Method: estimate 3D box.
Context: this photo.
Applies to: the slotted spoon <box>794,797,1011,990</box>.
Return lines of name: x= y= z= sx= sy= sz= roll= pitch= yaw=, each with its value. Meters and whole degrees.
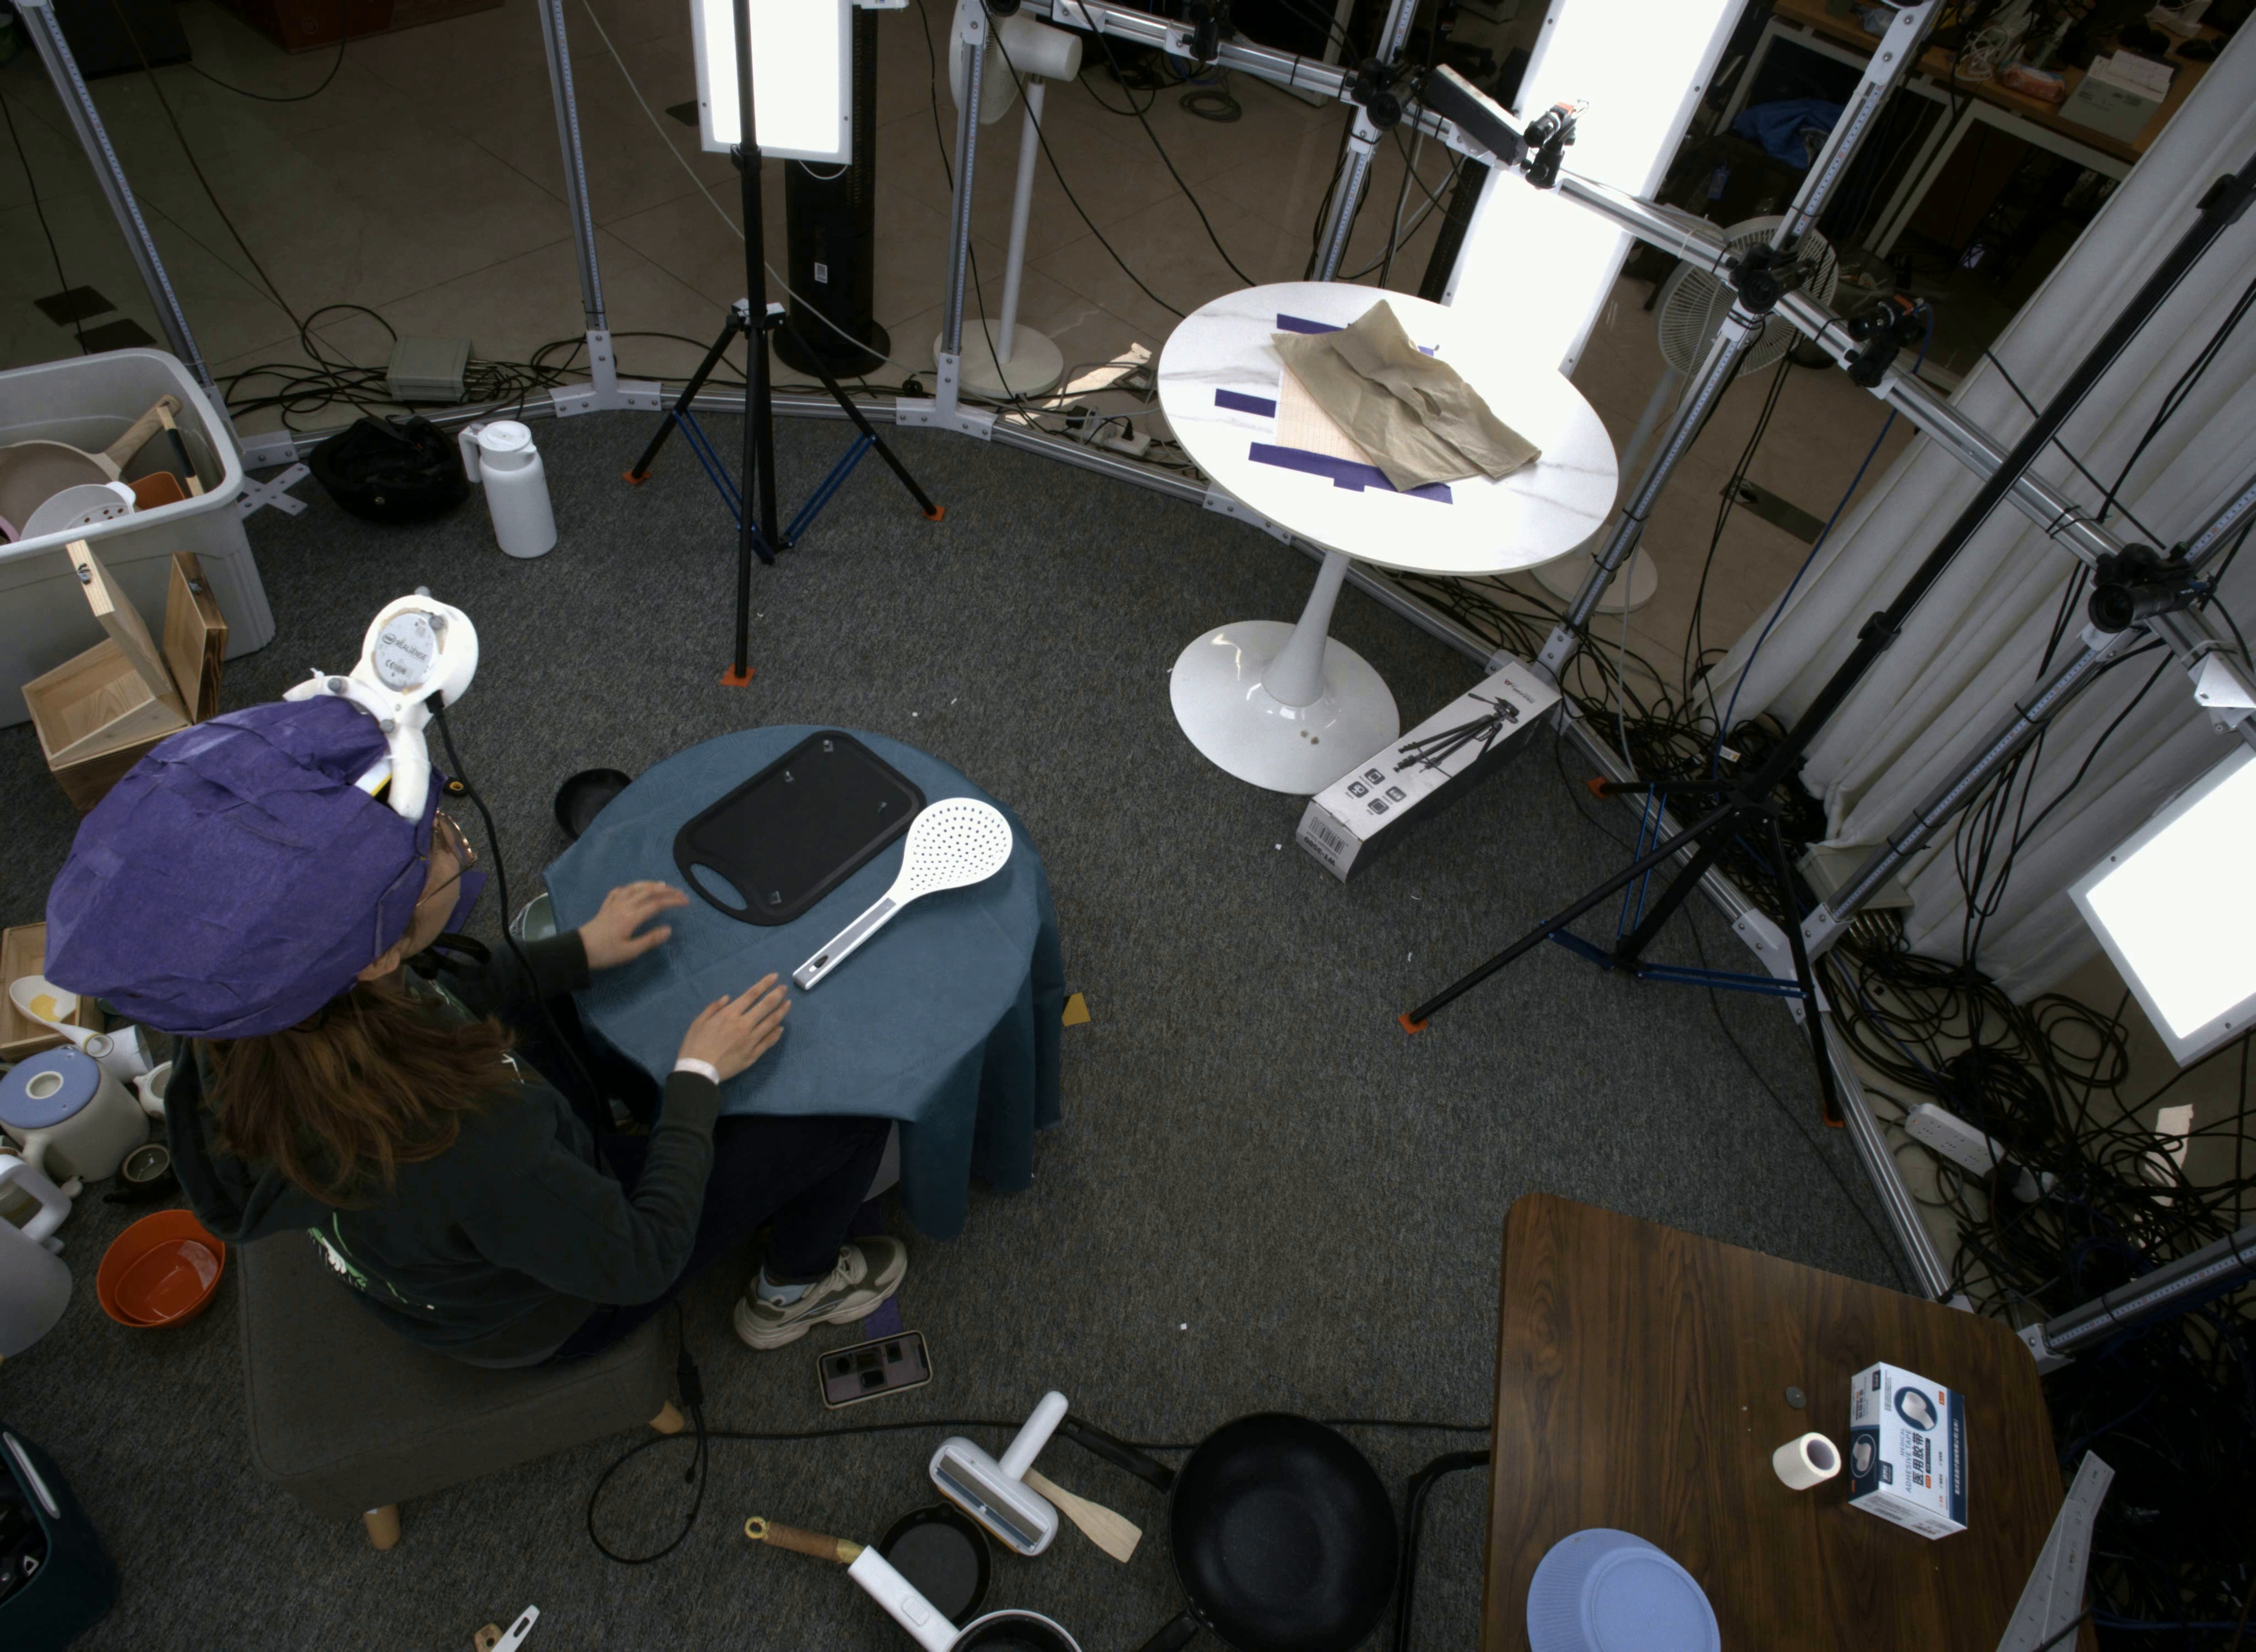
slotted spoon: x=-0.291 y=0.086 z=1.670 sx=0.133 sy=0.047 sz=0.350 roll=36 pitch=54 yaw=17

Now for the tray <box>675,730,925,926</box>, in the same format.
tray: x=-0.437 y=-0.002 z=1.723 sx=0.207 sy=0.010 sz=0.325 roll=37 pitch=54 yaw=14
